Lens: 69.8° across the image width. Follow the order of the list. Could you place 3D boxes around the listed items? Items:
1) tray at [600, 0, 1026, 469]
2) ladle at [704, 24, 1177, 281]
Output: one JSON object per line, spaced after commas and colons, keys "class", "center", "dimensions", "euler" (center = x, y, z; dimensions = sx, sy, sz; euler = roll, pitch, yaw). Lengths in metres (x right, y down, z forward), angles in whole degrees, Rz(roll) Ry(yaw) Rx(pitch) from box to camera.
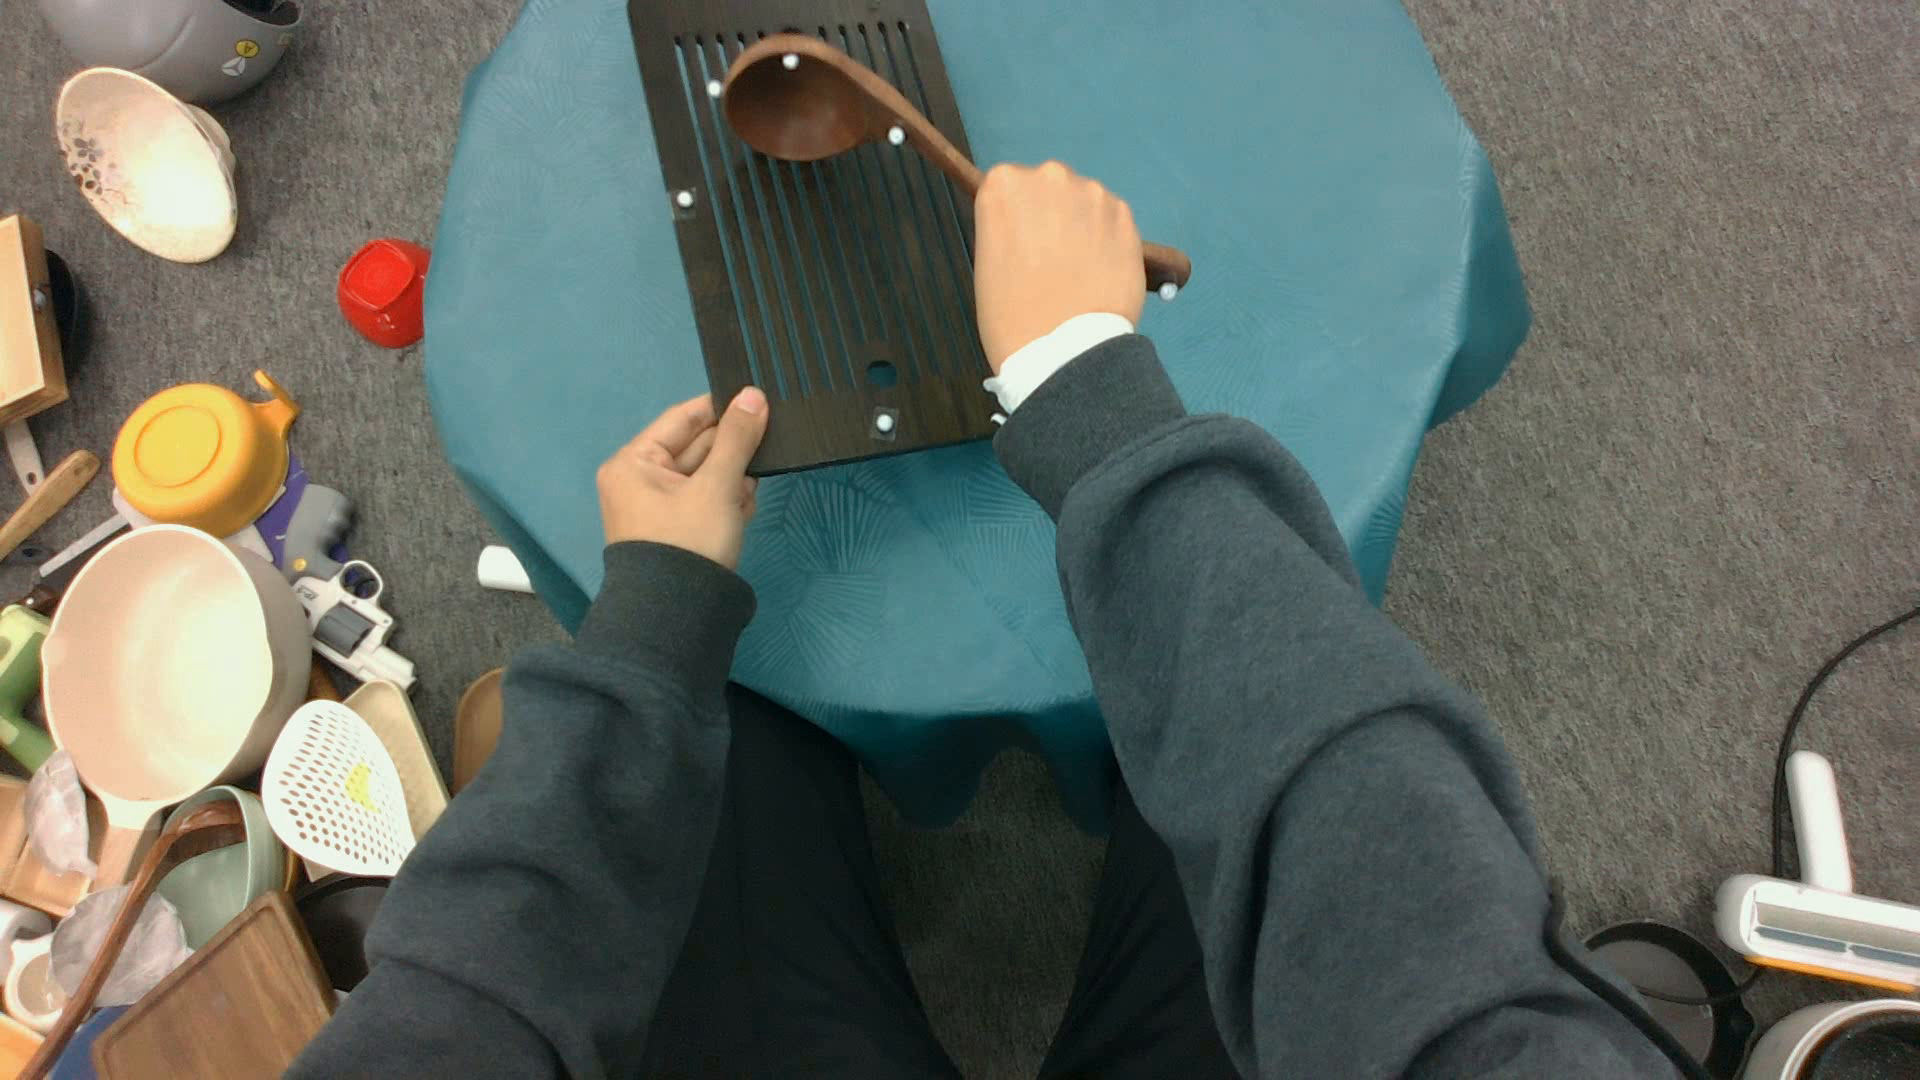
{"class": "tray", "center": [-0.084, -0.185, 0.743], "dimensions": [0.170, 0.018, 0.306], "euler": [-11, 70, -15]}
{"class": "ladle", "center": [-0.016, -0.180, 0.680], "dimensions": [0.260, 0.076, 0.065], "euler": [35, 72, 18]}
